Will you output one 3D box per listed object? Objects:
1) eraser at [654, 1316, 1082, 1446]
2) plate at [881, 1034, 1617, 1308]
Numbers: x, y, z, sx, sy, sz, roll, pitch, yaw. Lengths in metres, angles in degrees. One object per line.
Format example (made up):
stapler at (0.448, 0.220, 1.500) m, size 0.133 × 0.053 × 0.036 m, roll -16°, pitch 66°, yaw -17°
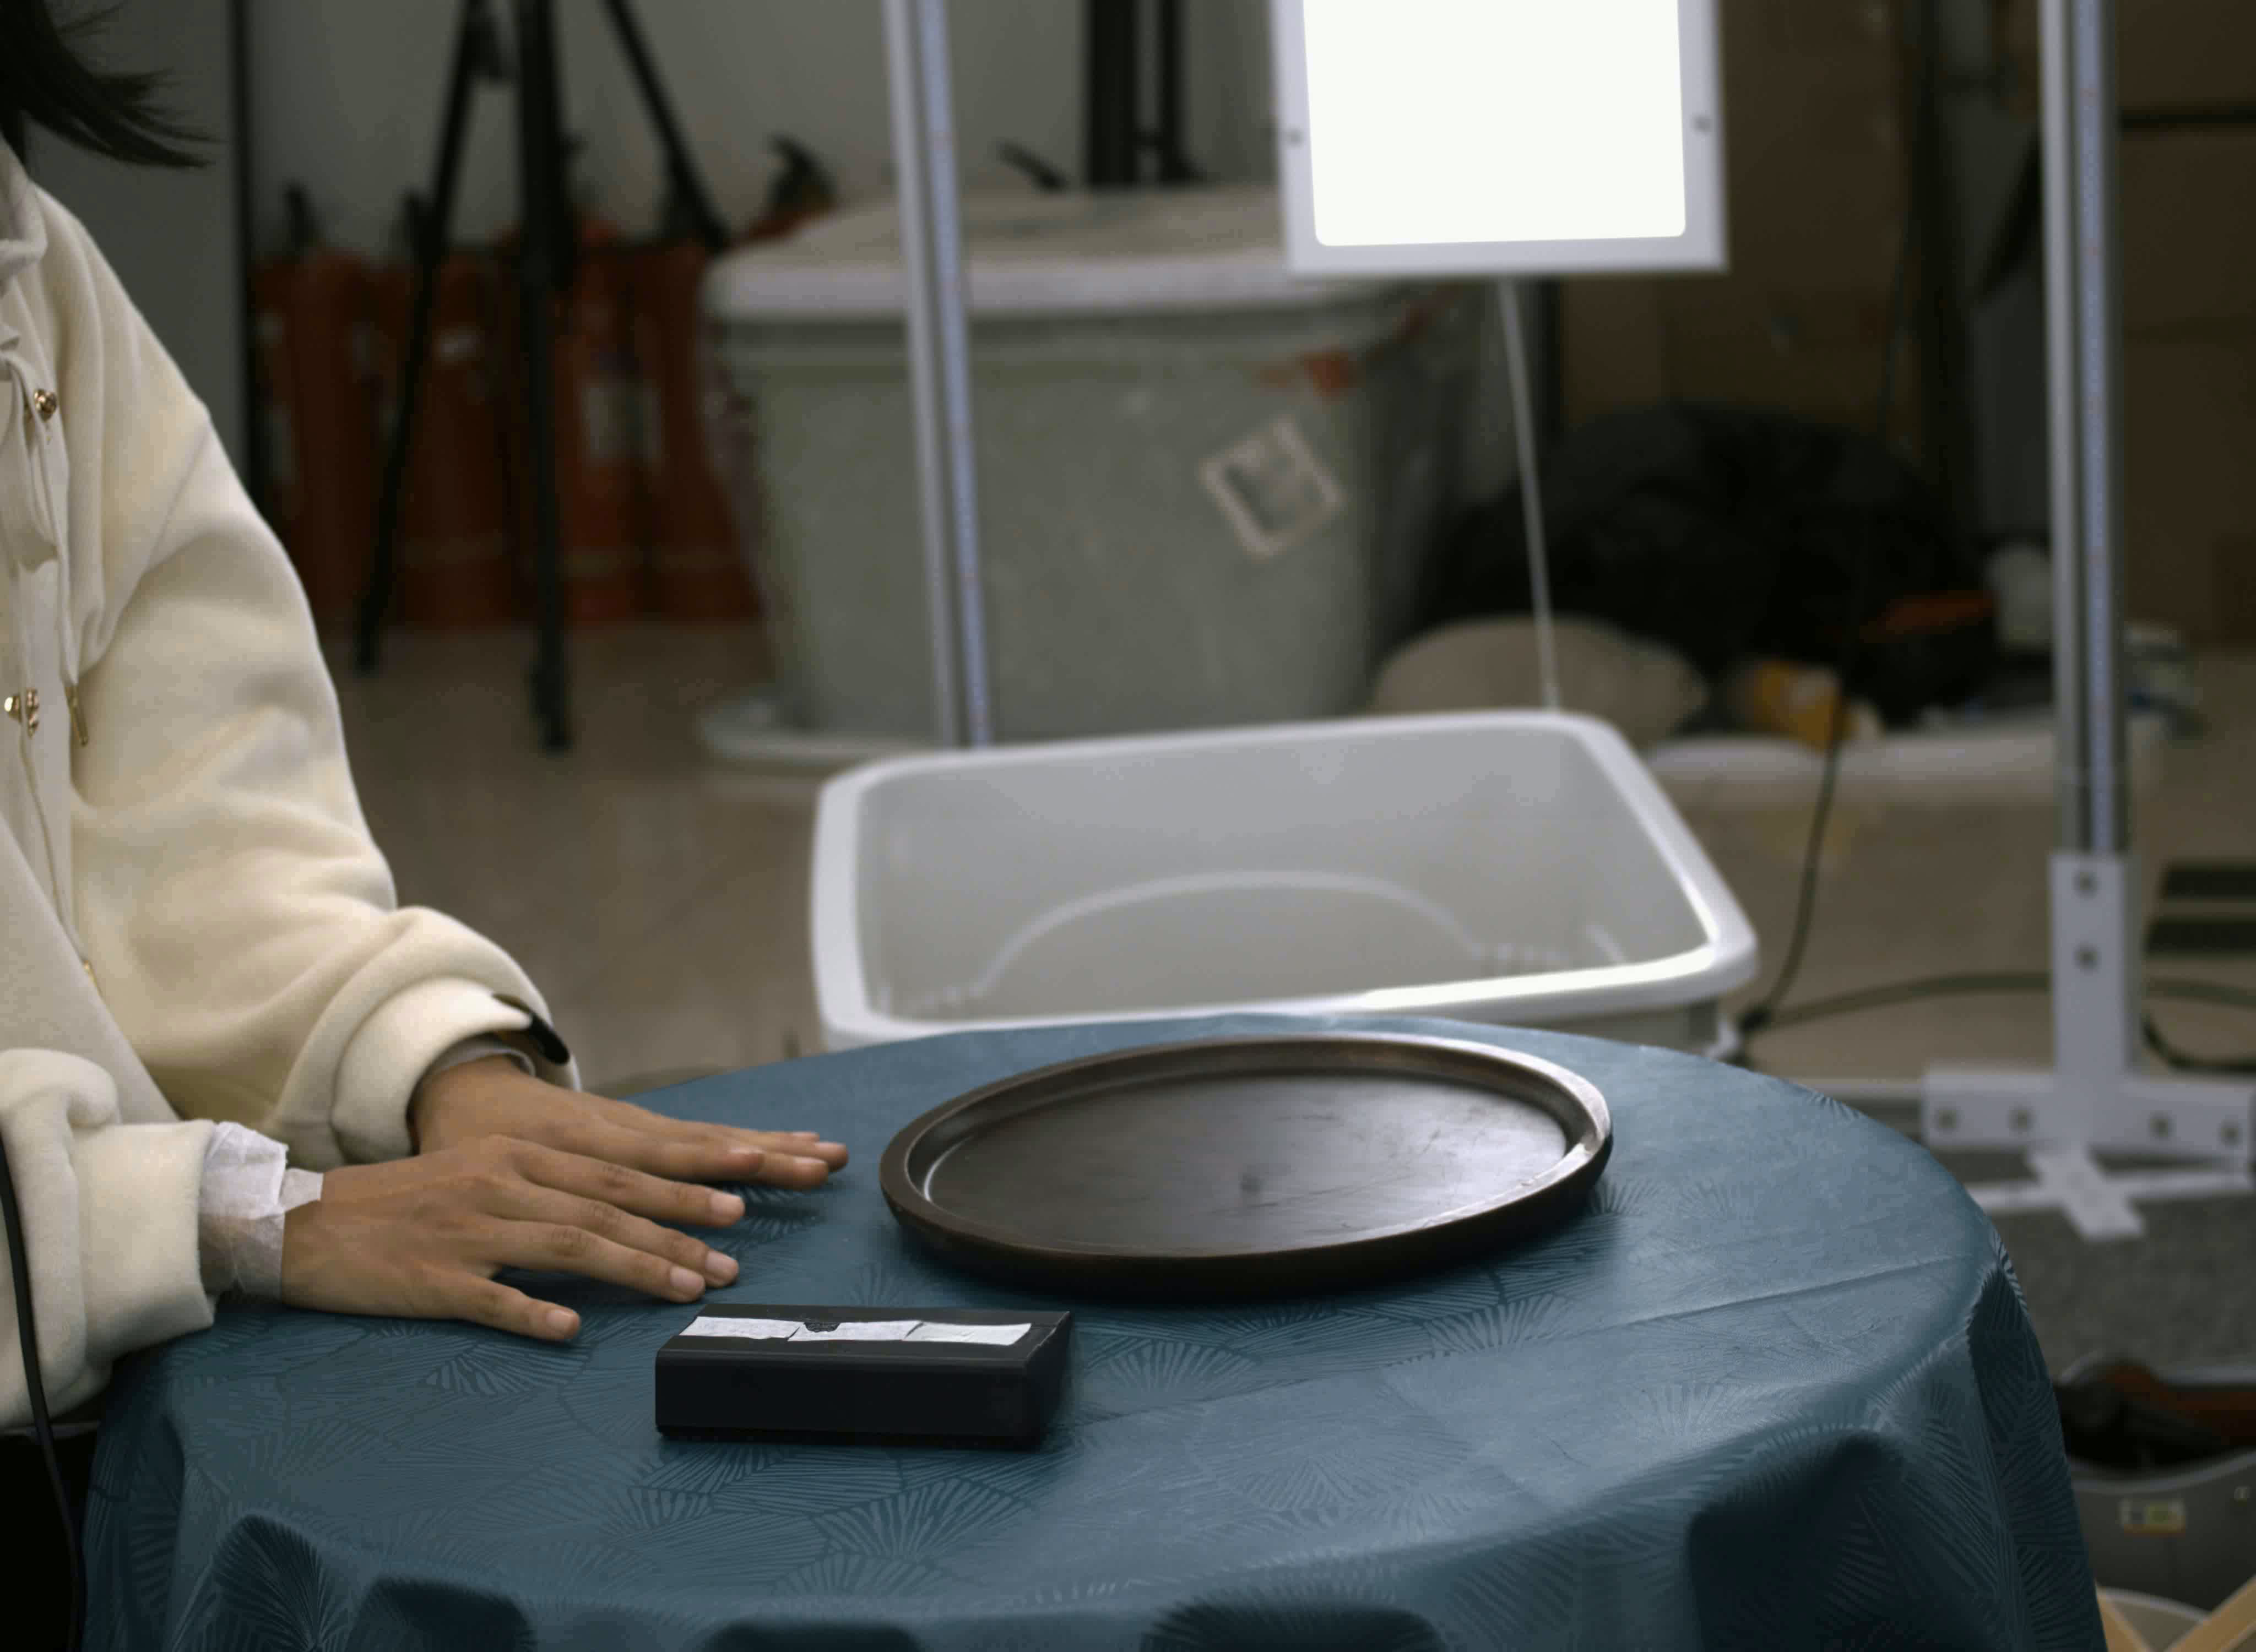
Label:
eraser at (-0.078, 0.170, 1.694) m, size 0.127 × 0.030 × 0.052 m, roll -2°, pitch 12°, yaw 20°
plate at (0.041, 0.115, 1.879) m, size 0.254 × 0.029 × 0.254 m, roll -4°, pitch 14°, yaw 0°
